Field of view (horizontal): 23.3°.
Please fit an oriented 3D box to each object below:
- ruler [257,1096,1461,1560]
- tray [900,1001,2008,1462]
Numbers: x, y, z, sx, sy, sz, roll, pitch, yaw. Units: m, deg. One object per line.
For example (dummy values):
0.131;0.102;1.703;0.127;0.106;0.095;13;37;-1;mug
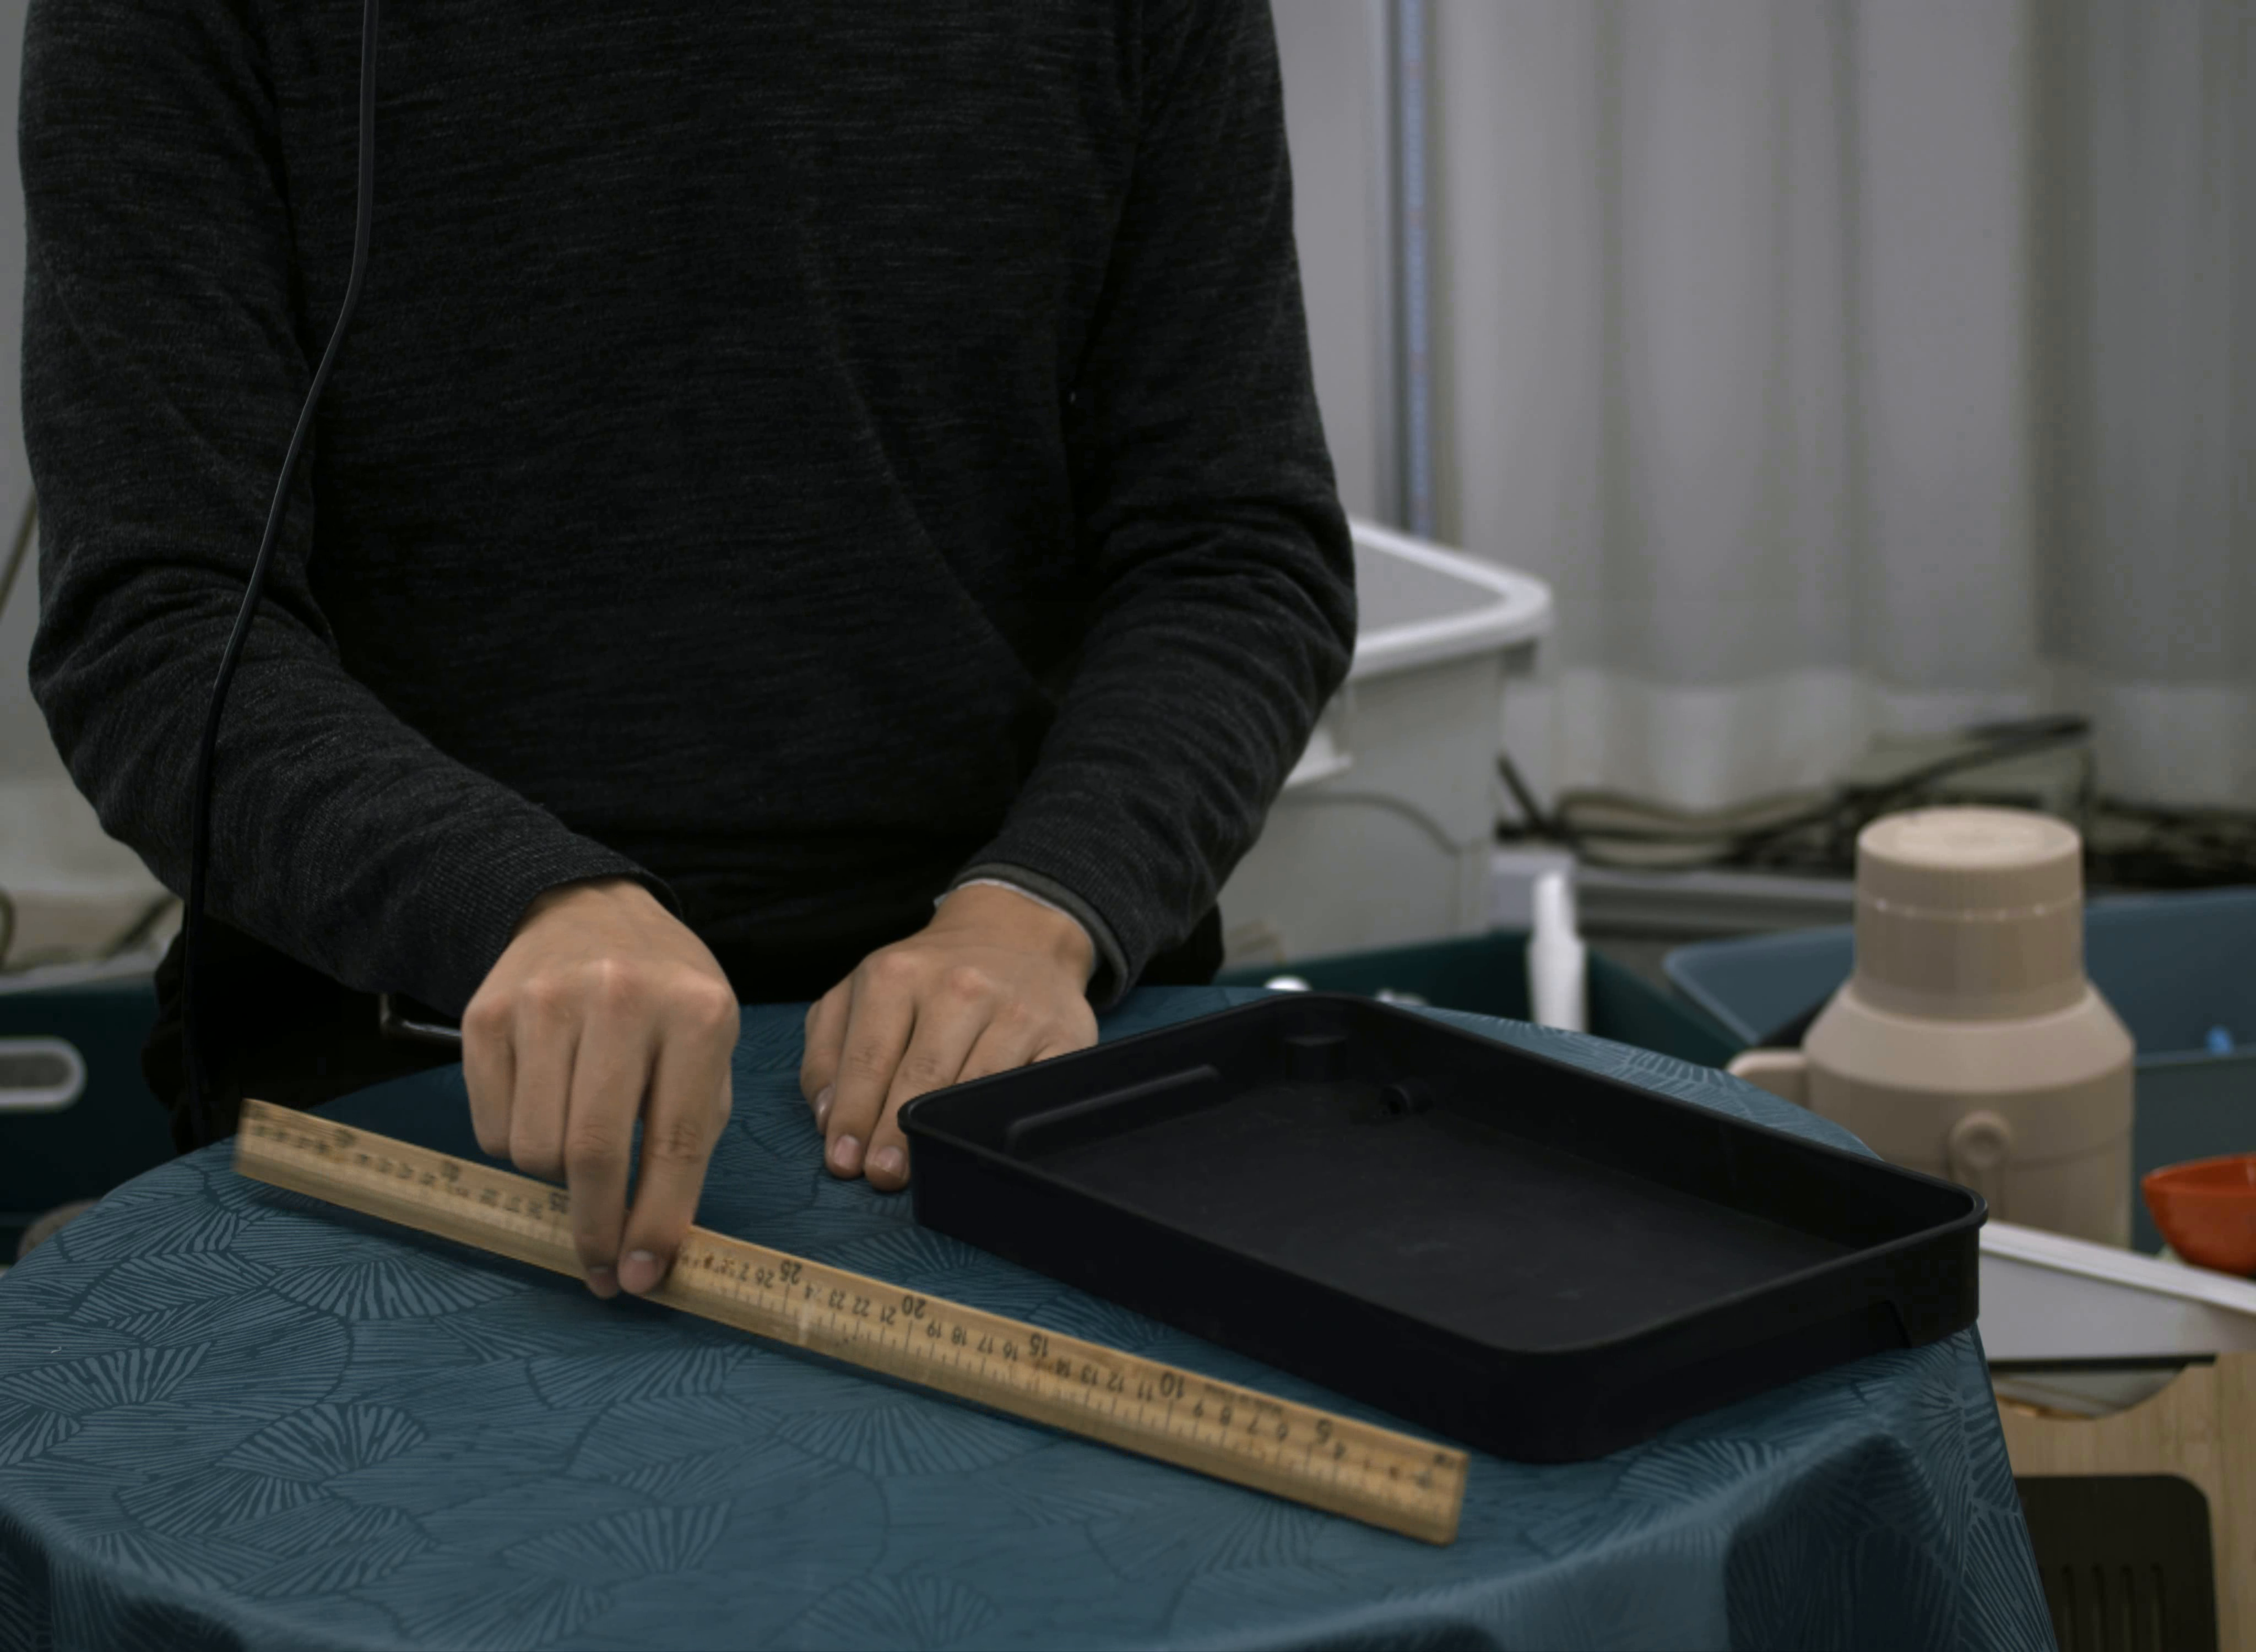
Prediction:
-0.096;0.138;1.586;0.503;0.027;0.006;13;2;43;ruler
0.091;0.115;1.627;0.184;0.037;0.320;-14;18;-36;tray
